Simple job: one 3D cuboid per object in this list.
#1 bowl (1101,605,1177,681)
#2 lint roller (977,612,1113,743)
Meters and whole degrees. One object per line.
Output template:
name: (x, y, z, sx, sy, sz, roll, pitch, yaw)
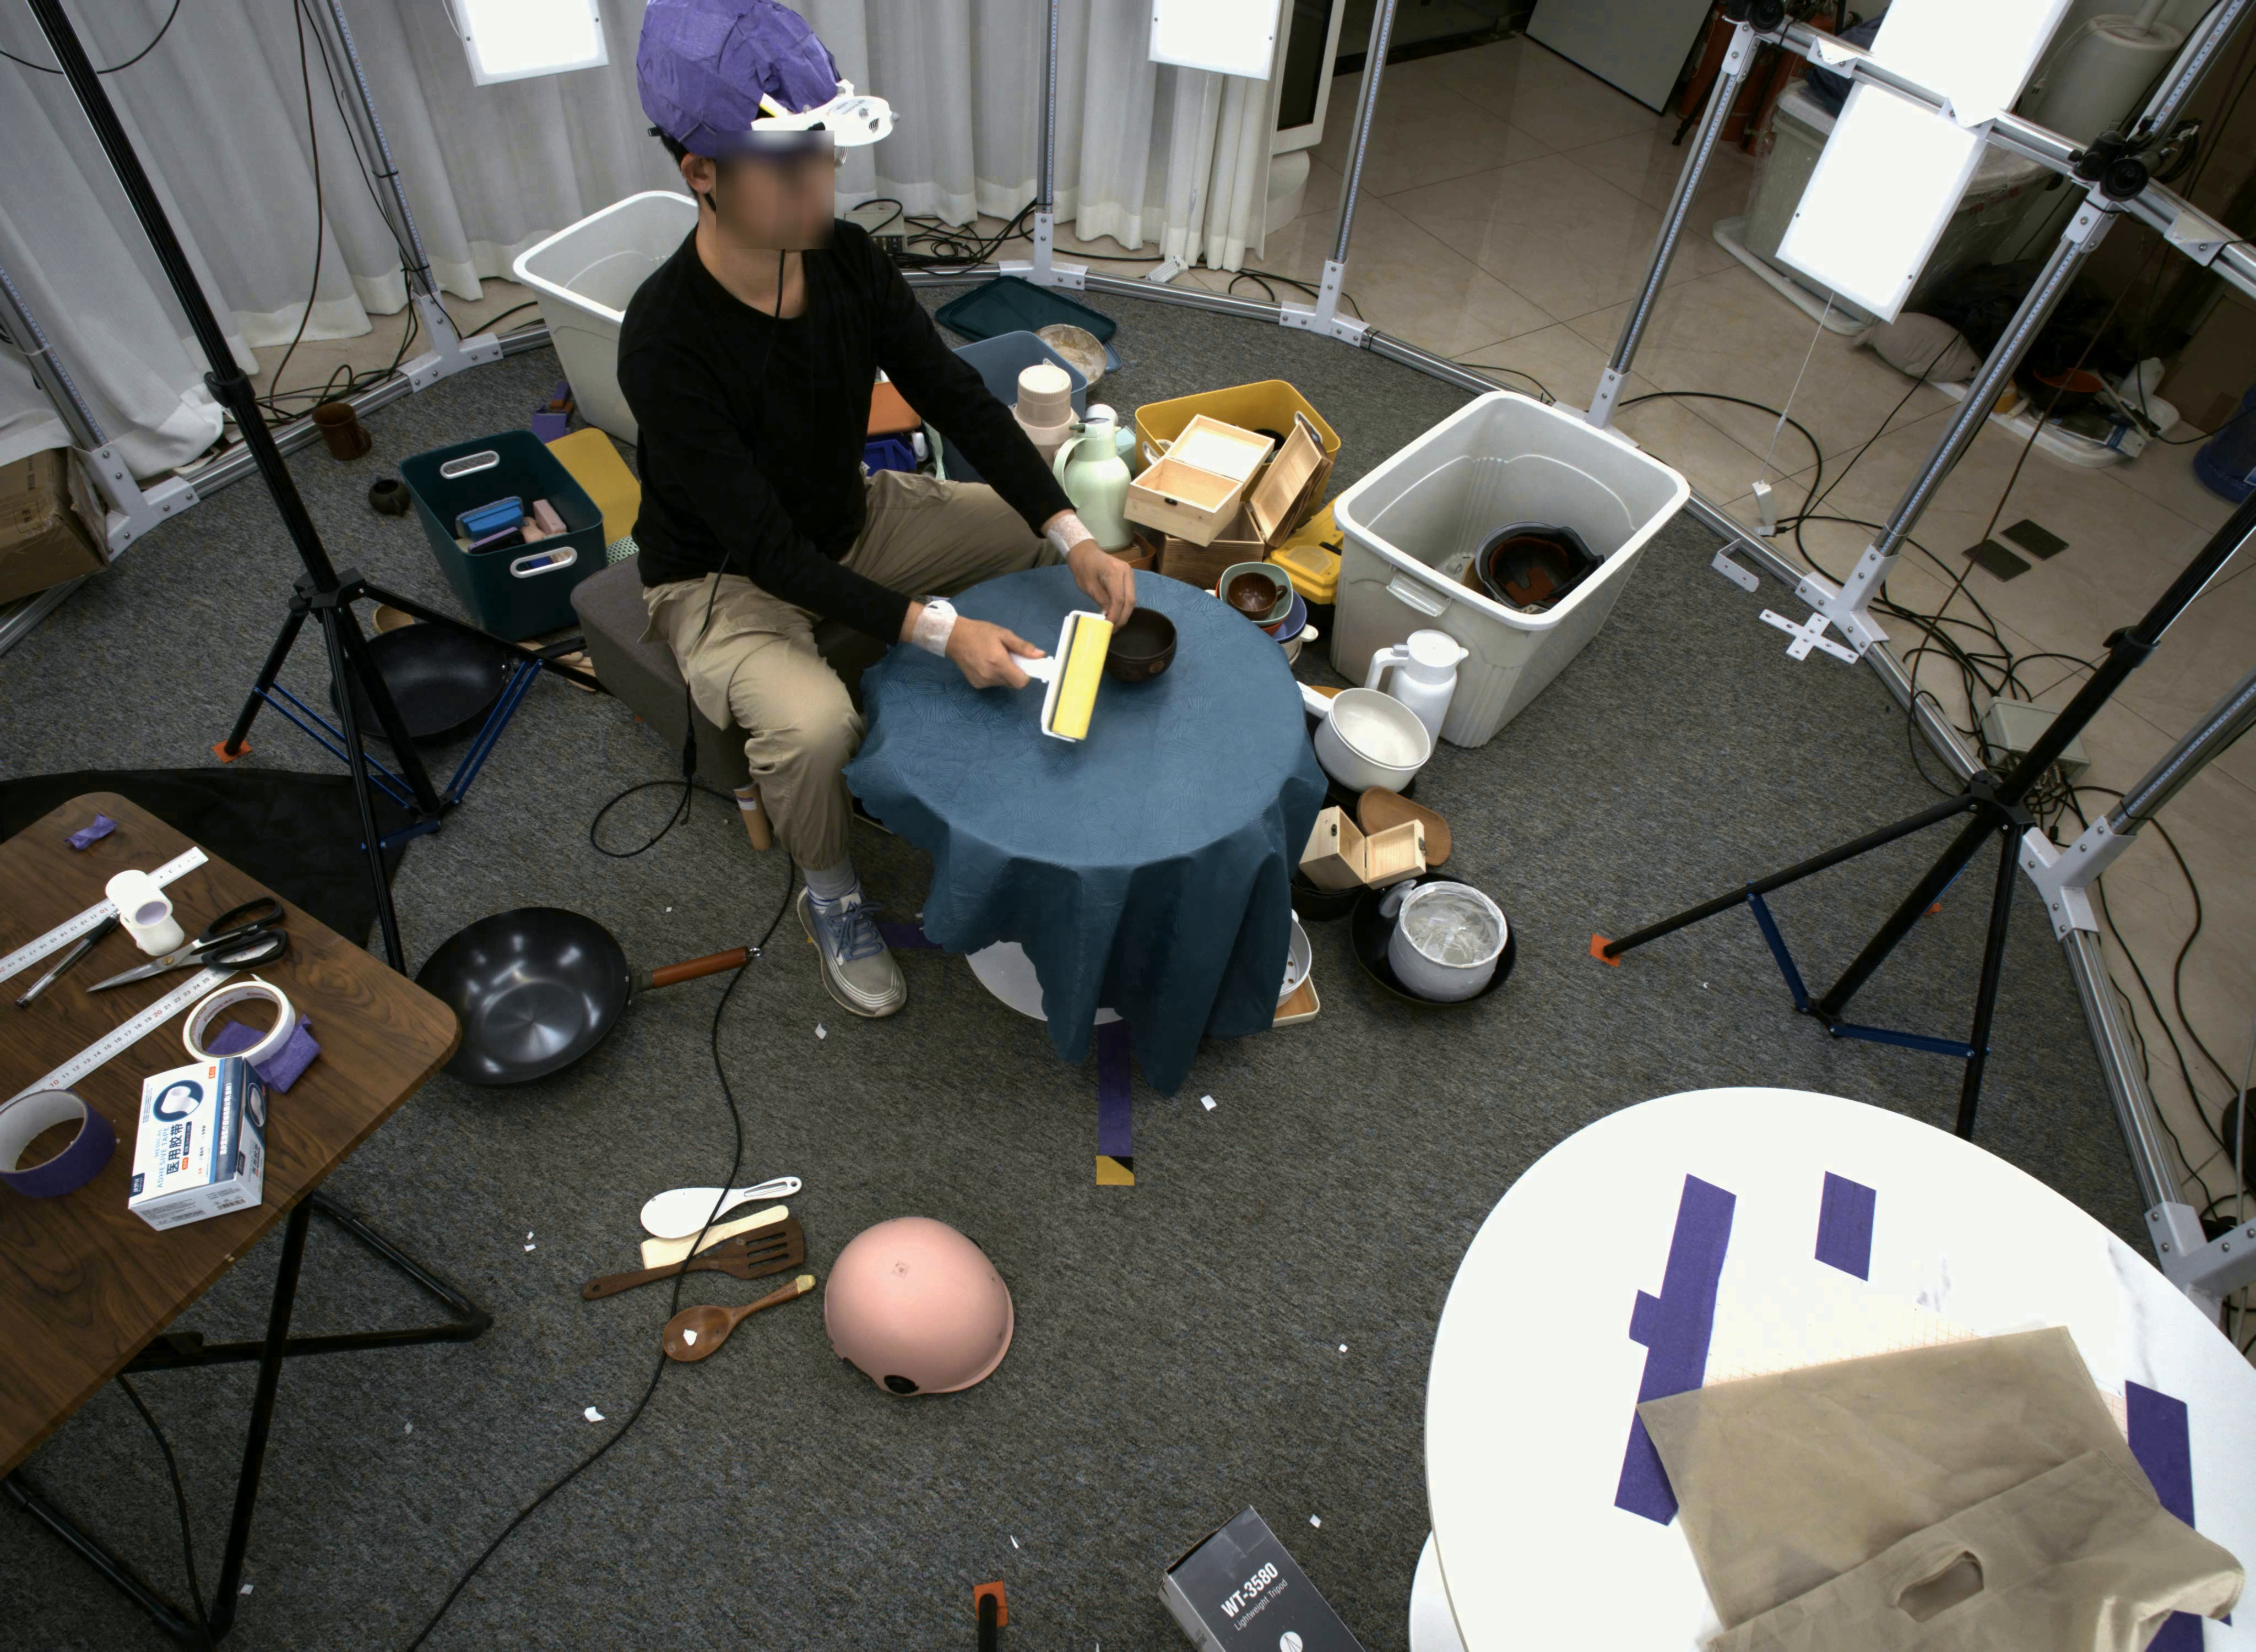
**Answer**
bowl: (0.010, -0.254, 1.841, 0.118, 0.068, 0.121, 3, 47, -3)
lint roller: (-0.126, -0.215, 1.754, 0.193, 0.051, 0.174, 13, 92, 17)
